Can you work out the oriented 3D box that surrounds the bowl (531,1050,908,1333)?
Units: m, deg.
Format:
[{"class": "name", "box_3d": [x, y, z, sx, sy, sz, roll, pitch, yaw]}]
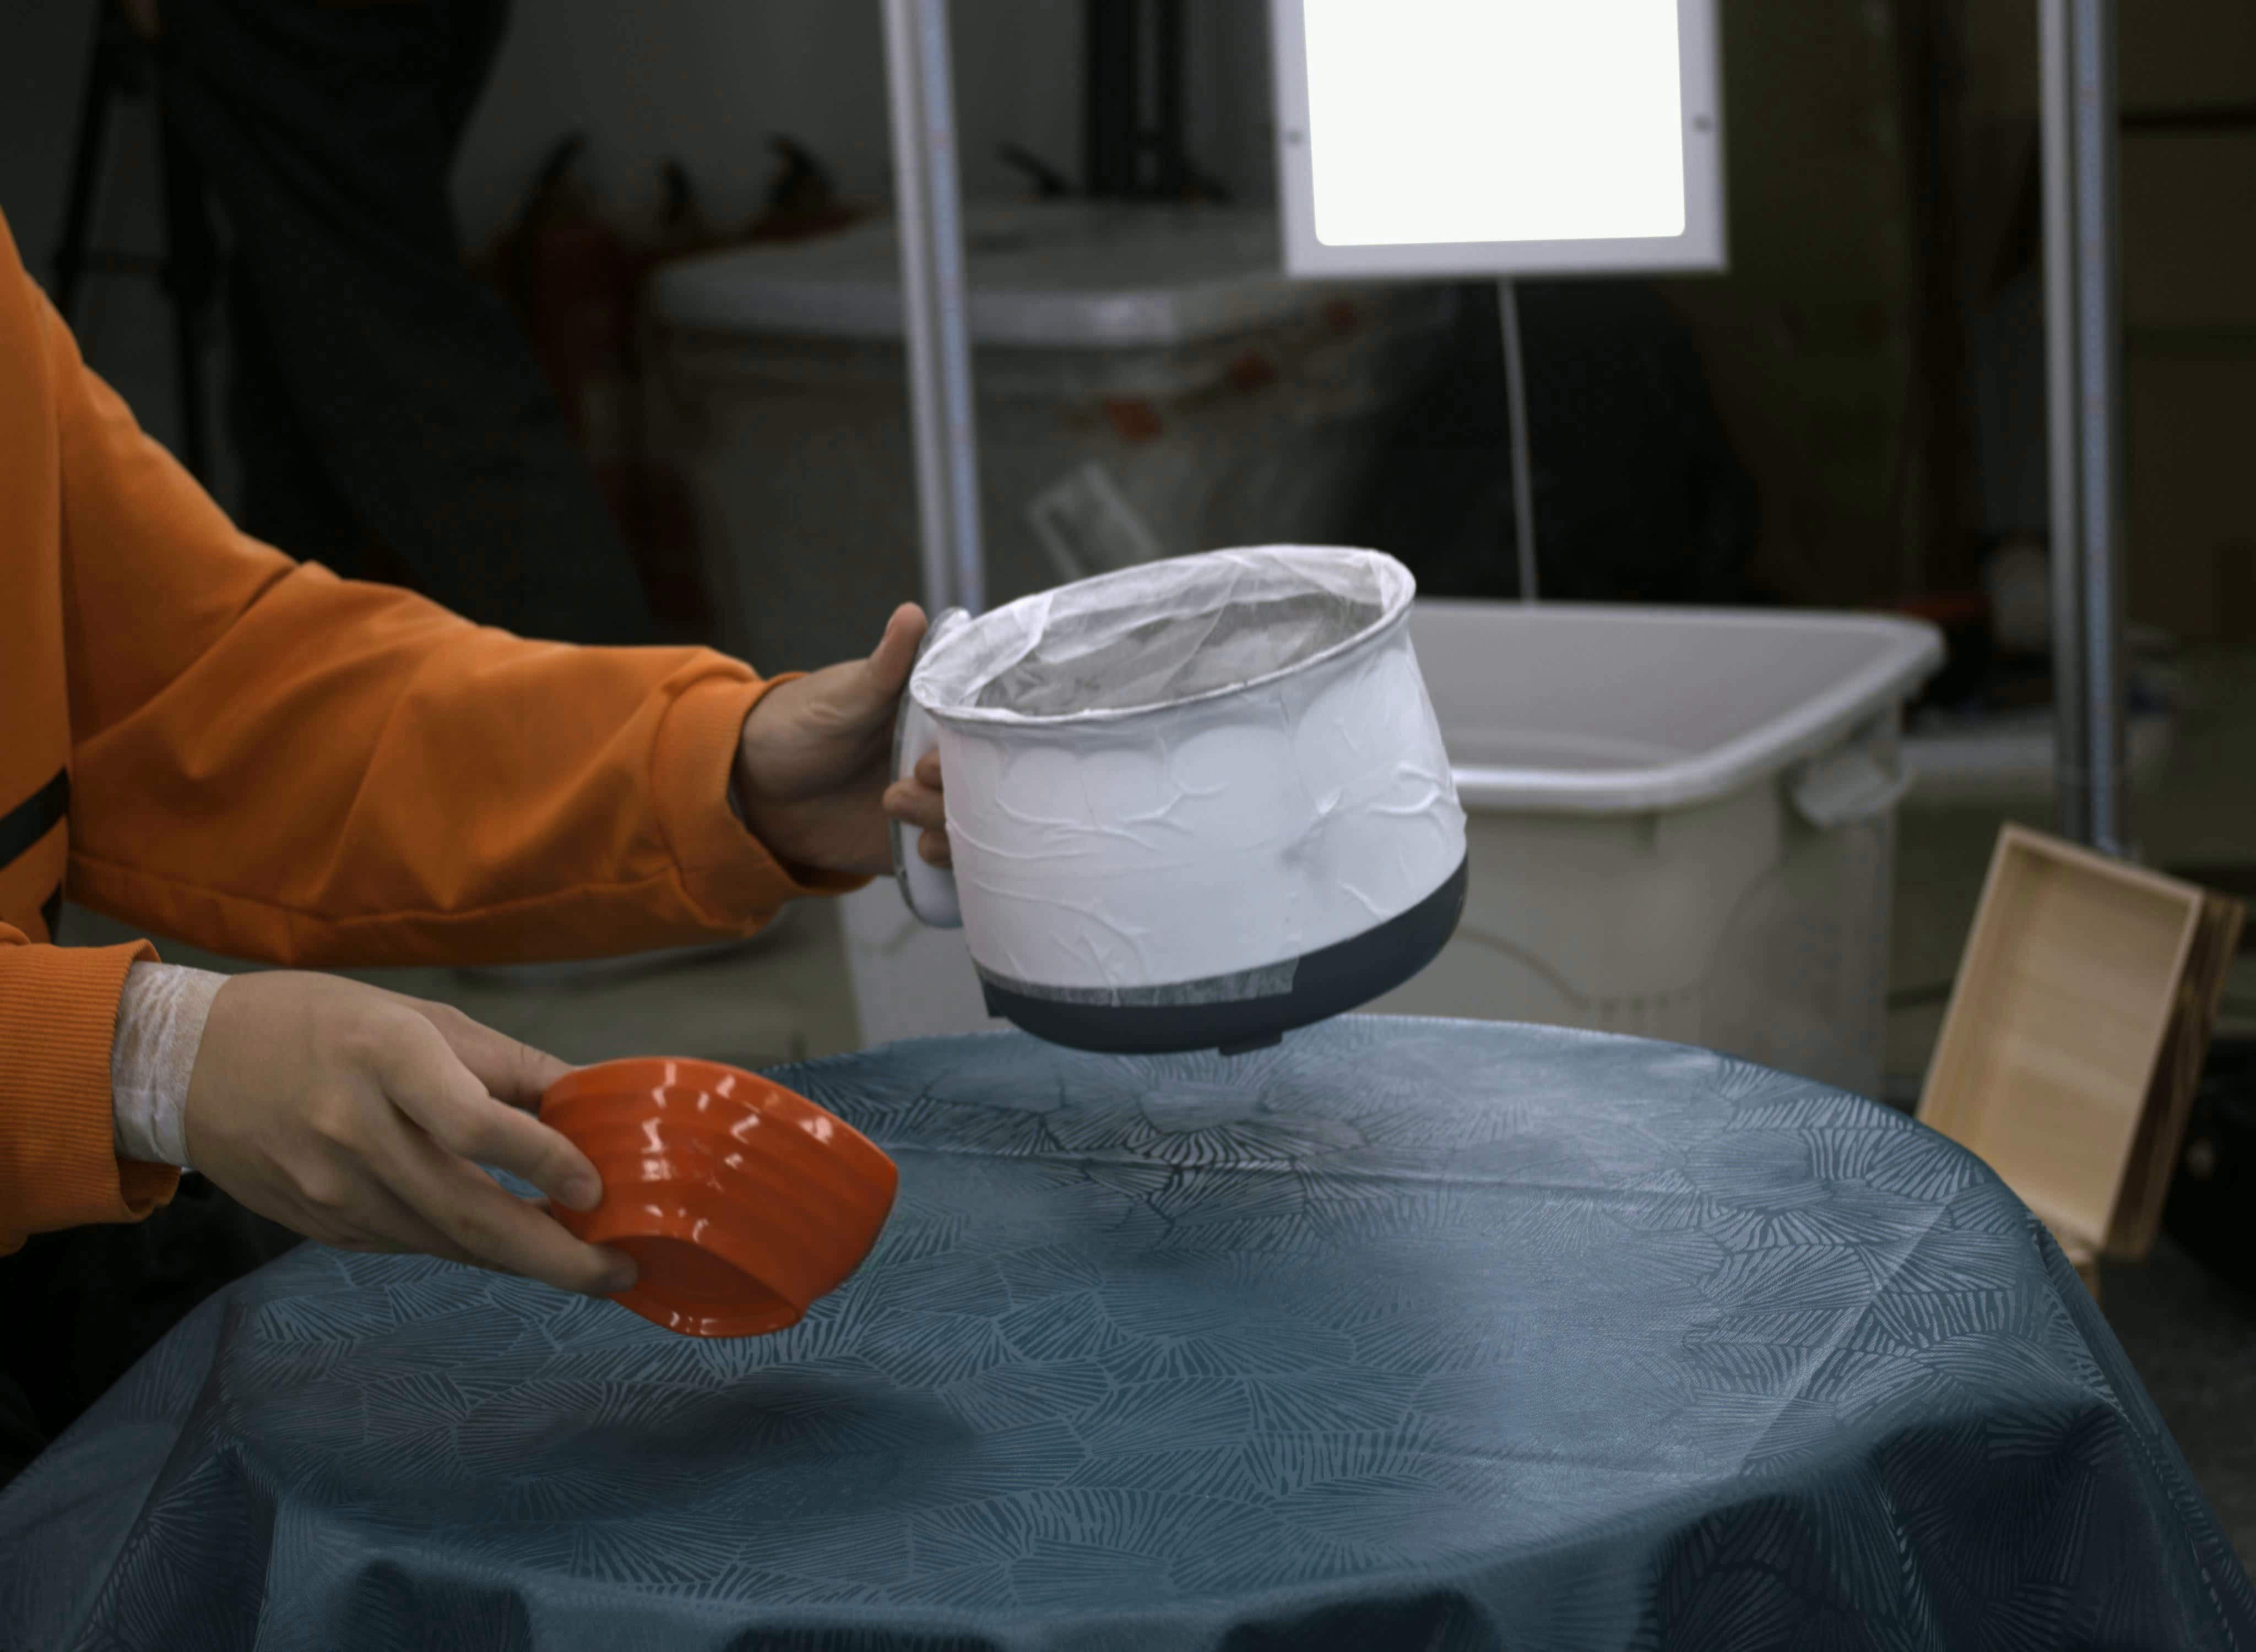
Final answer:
[{"class": "bowl", "box_3d": [-0.131, 0.117, 1.687, 0.119, 0.051, 0.119, 14, -26, 6]}]

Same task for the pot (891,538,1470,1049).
[{"class": "pot", "box_3d": [0.004, -0.011, 1.911, 0.239, 0.137, 0.174, 4, 23, 42]}]
